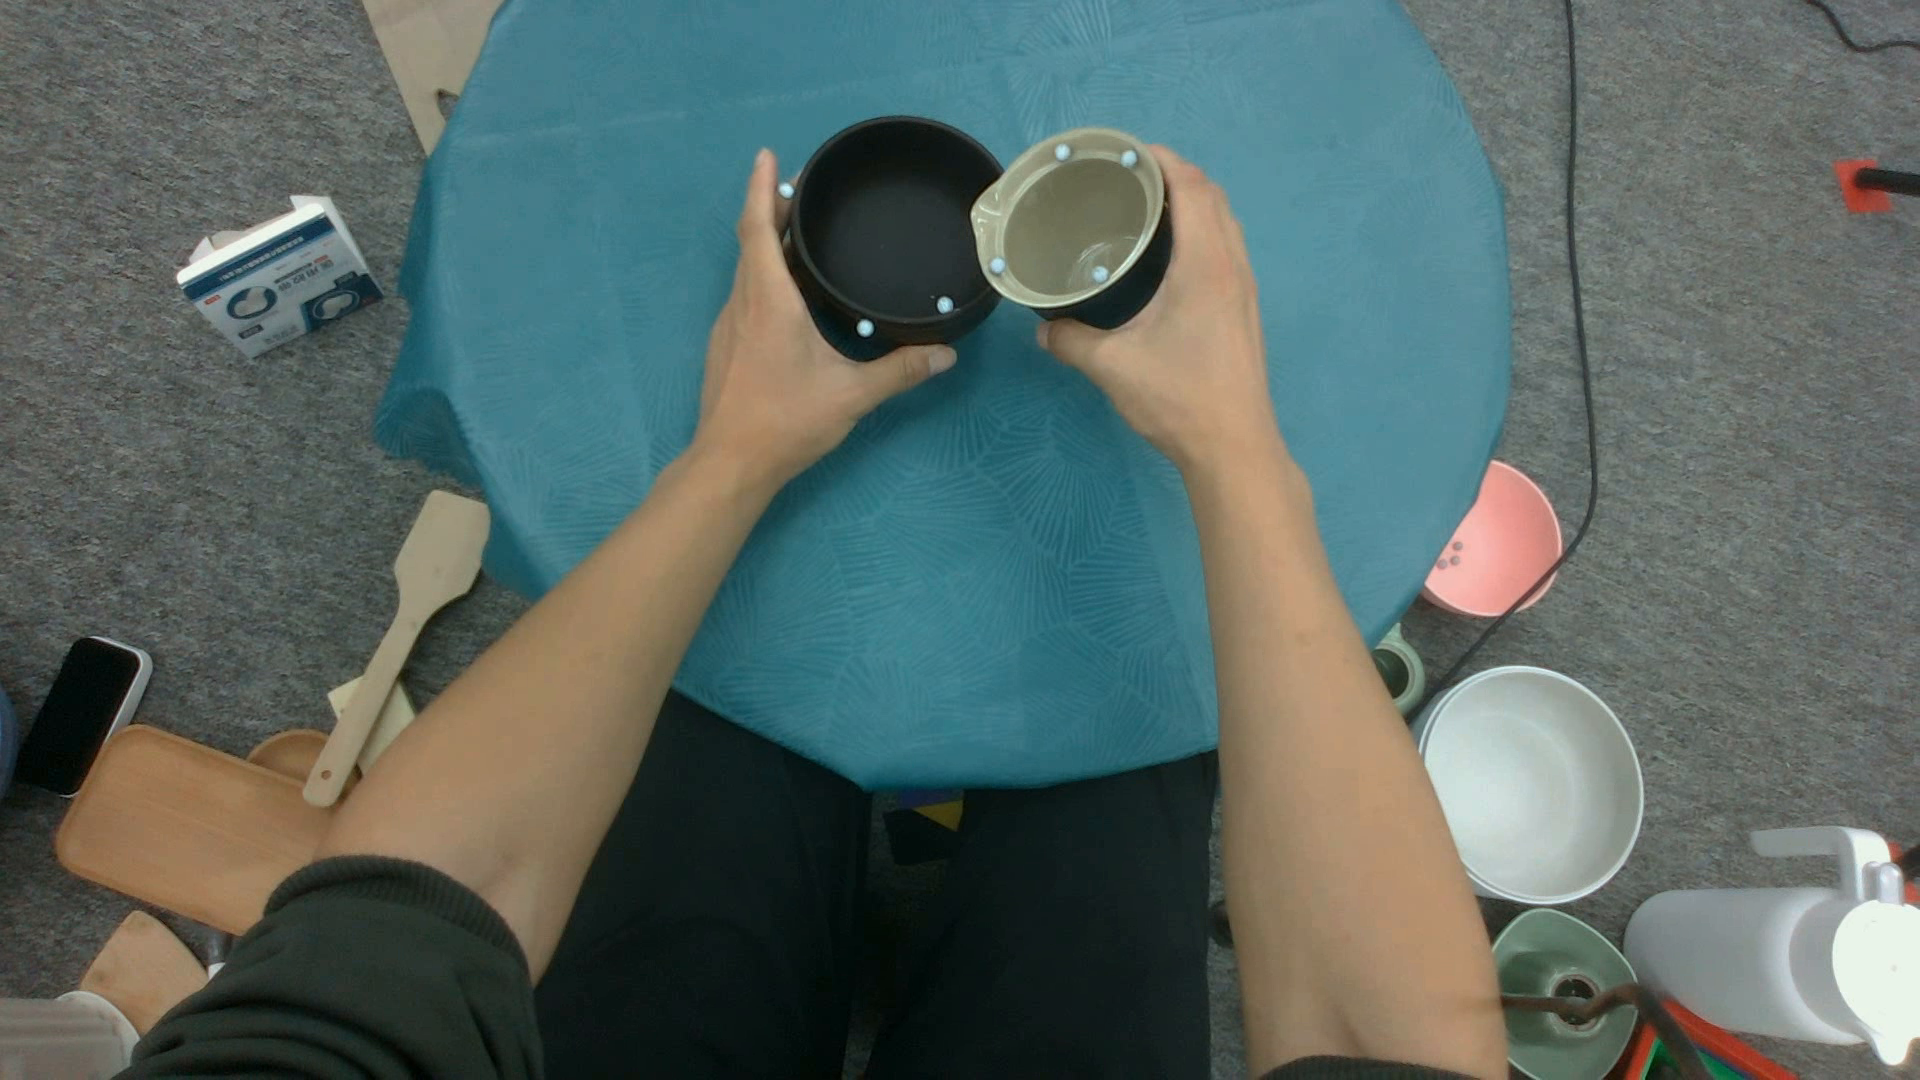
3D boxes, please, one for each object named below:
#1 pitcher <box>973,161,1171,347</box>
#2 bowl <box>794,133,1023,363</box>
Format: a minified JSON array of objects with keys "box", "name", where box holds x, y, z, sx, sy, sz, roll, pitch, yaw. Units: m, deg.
[{"box":[0.061,-0.136,0.683,0.096,0.071,0.084,20,85,34],"name":"pitcher"},{"box":[-0.029,-0.147,0.731,0.118,0.069,0.118,2,73,-7],"name":"bowl"}]
